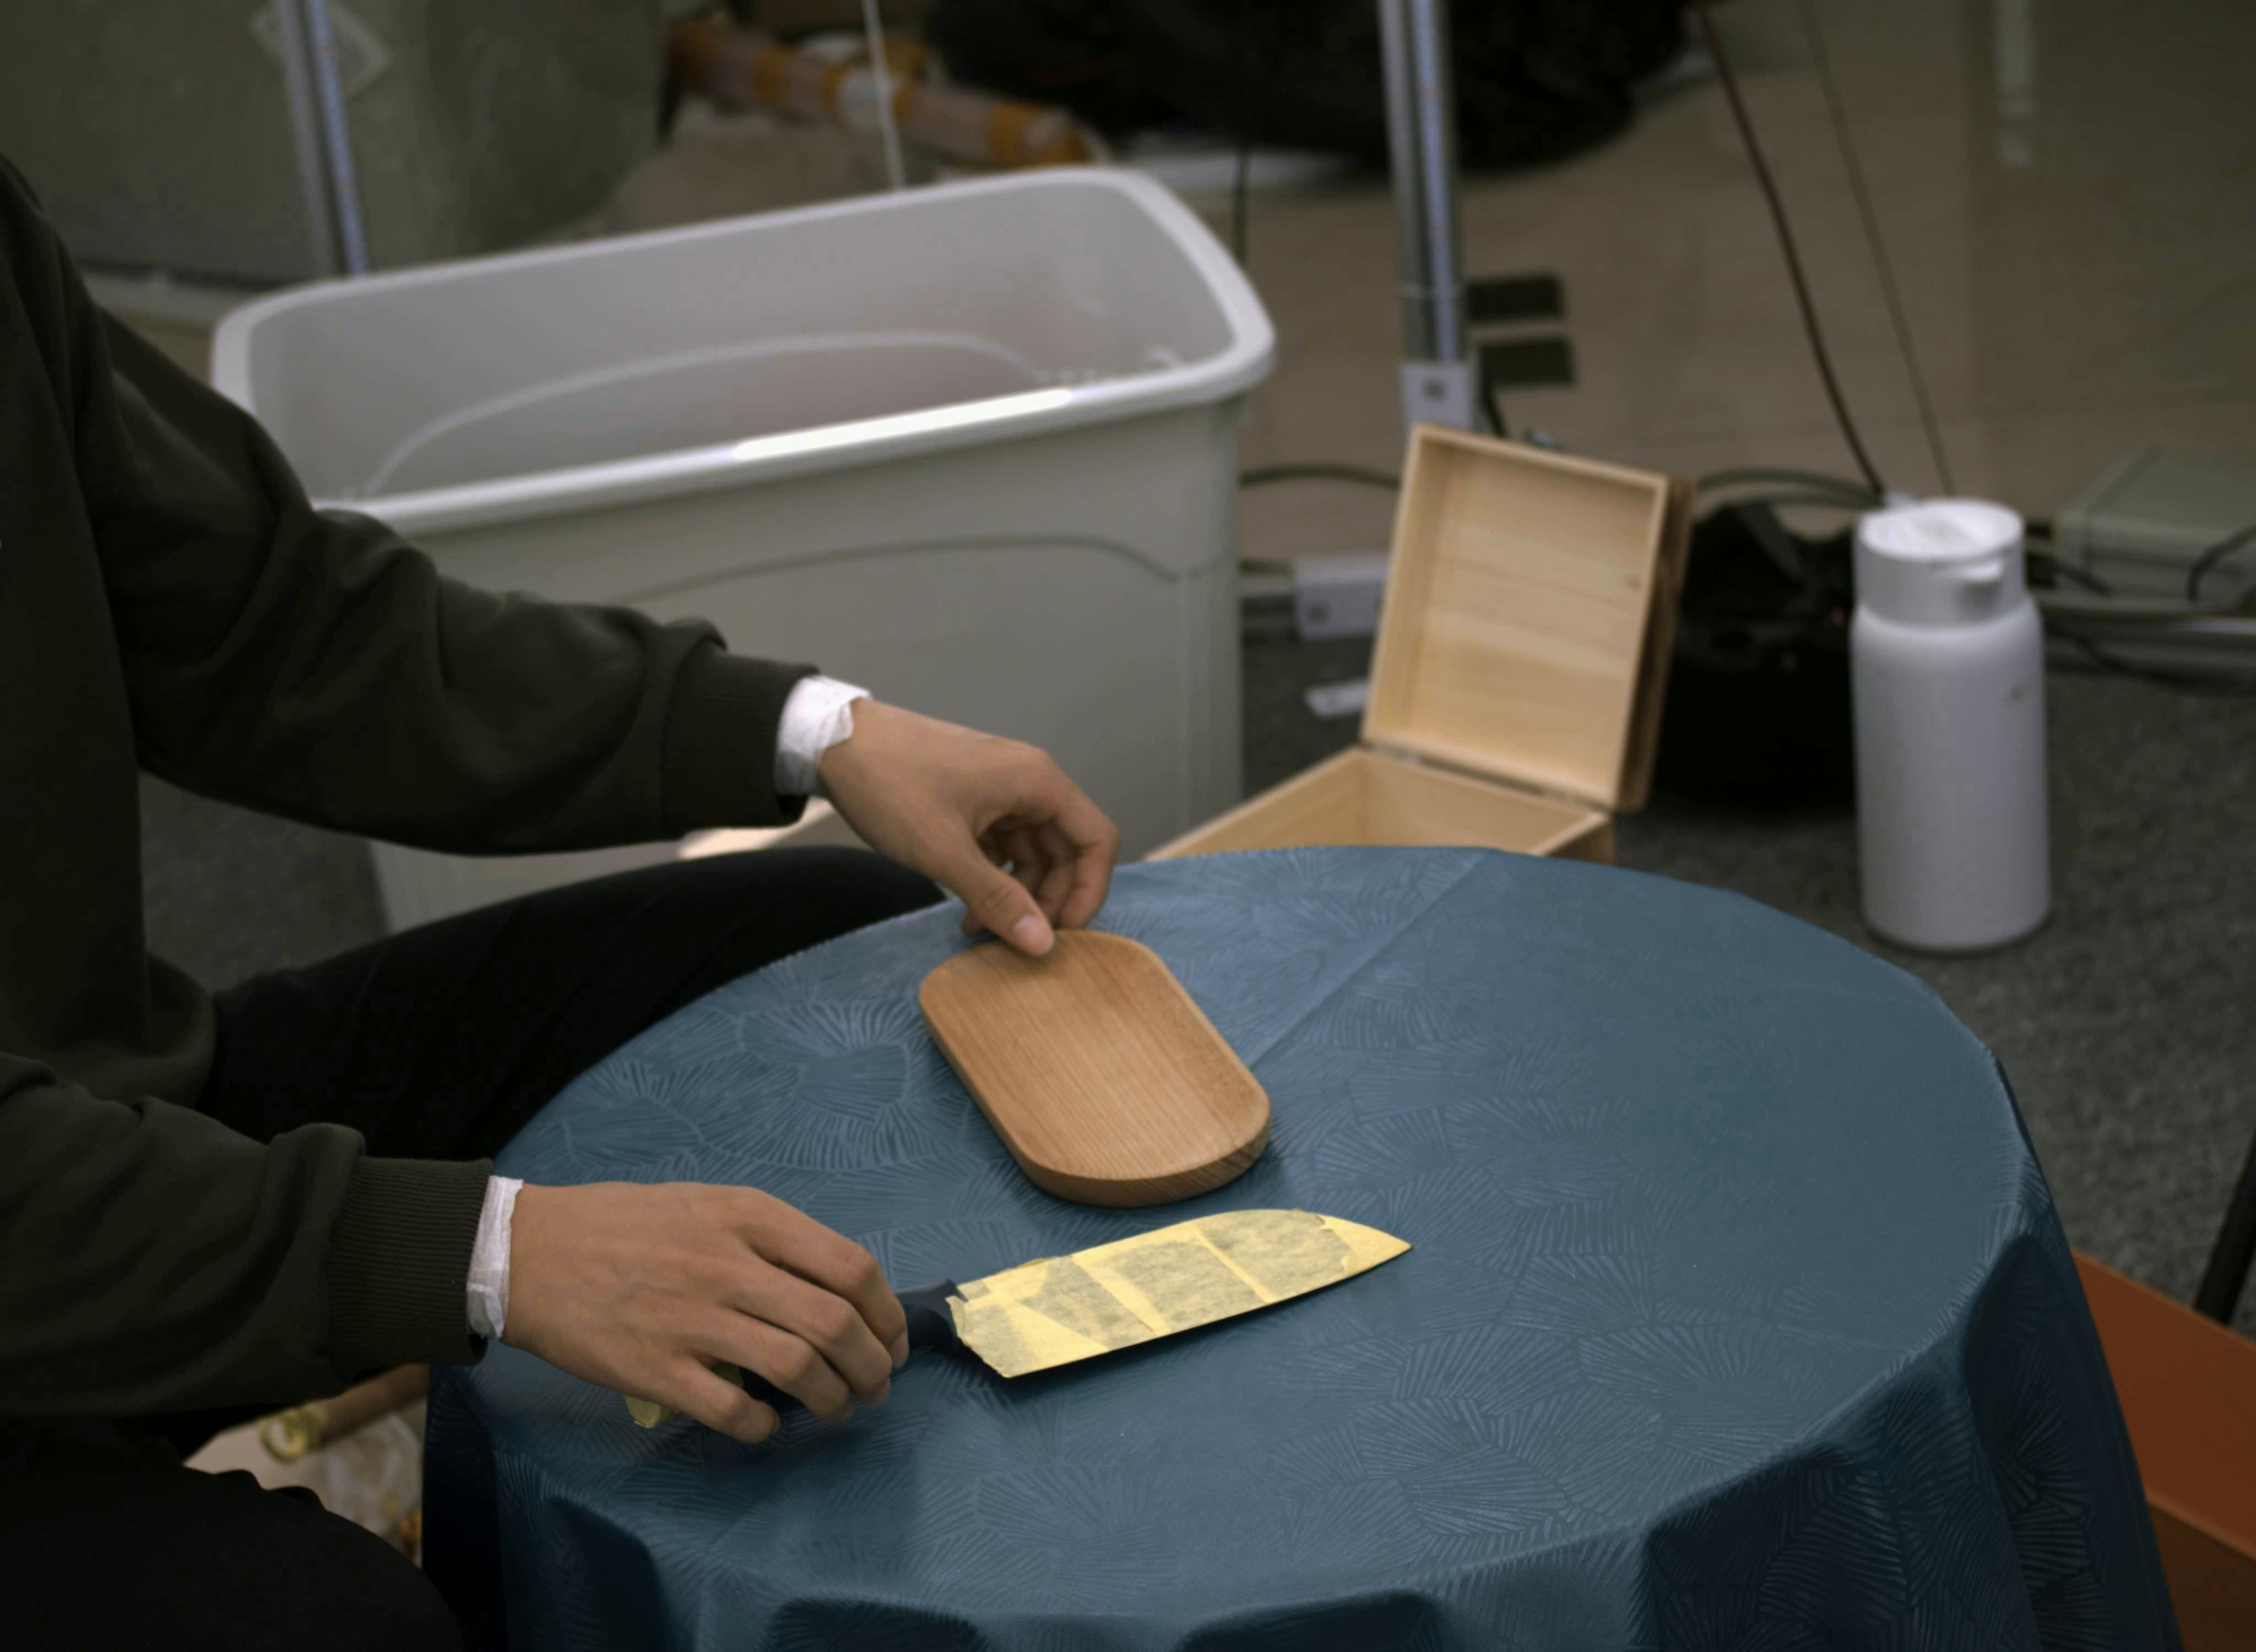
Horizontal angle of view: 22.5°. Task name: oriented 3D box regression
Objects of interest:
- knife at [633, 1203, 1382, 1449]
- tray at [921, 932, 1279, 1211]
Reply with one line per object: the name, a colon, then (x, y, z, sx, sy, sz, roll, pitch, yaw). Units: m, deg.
knife: (-0.039, 0.180, 2.055, 0.288, 0.027, 0.080, -15, 24, -19)
tray: (-0.013, 0.095, 2.231, 0.101, 0.020, 0.228, -14, 27, -14)
